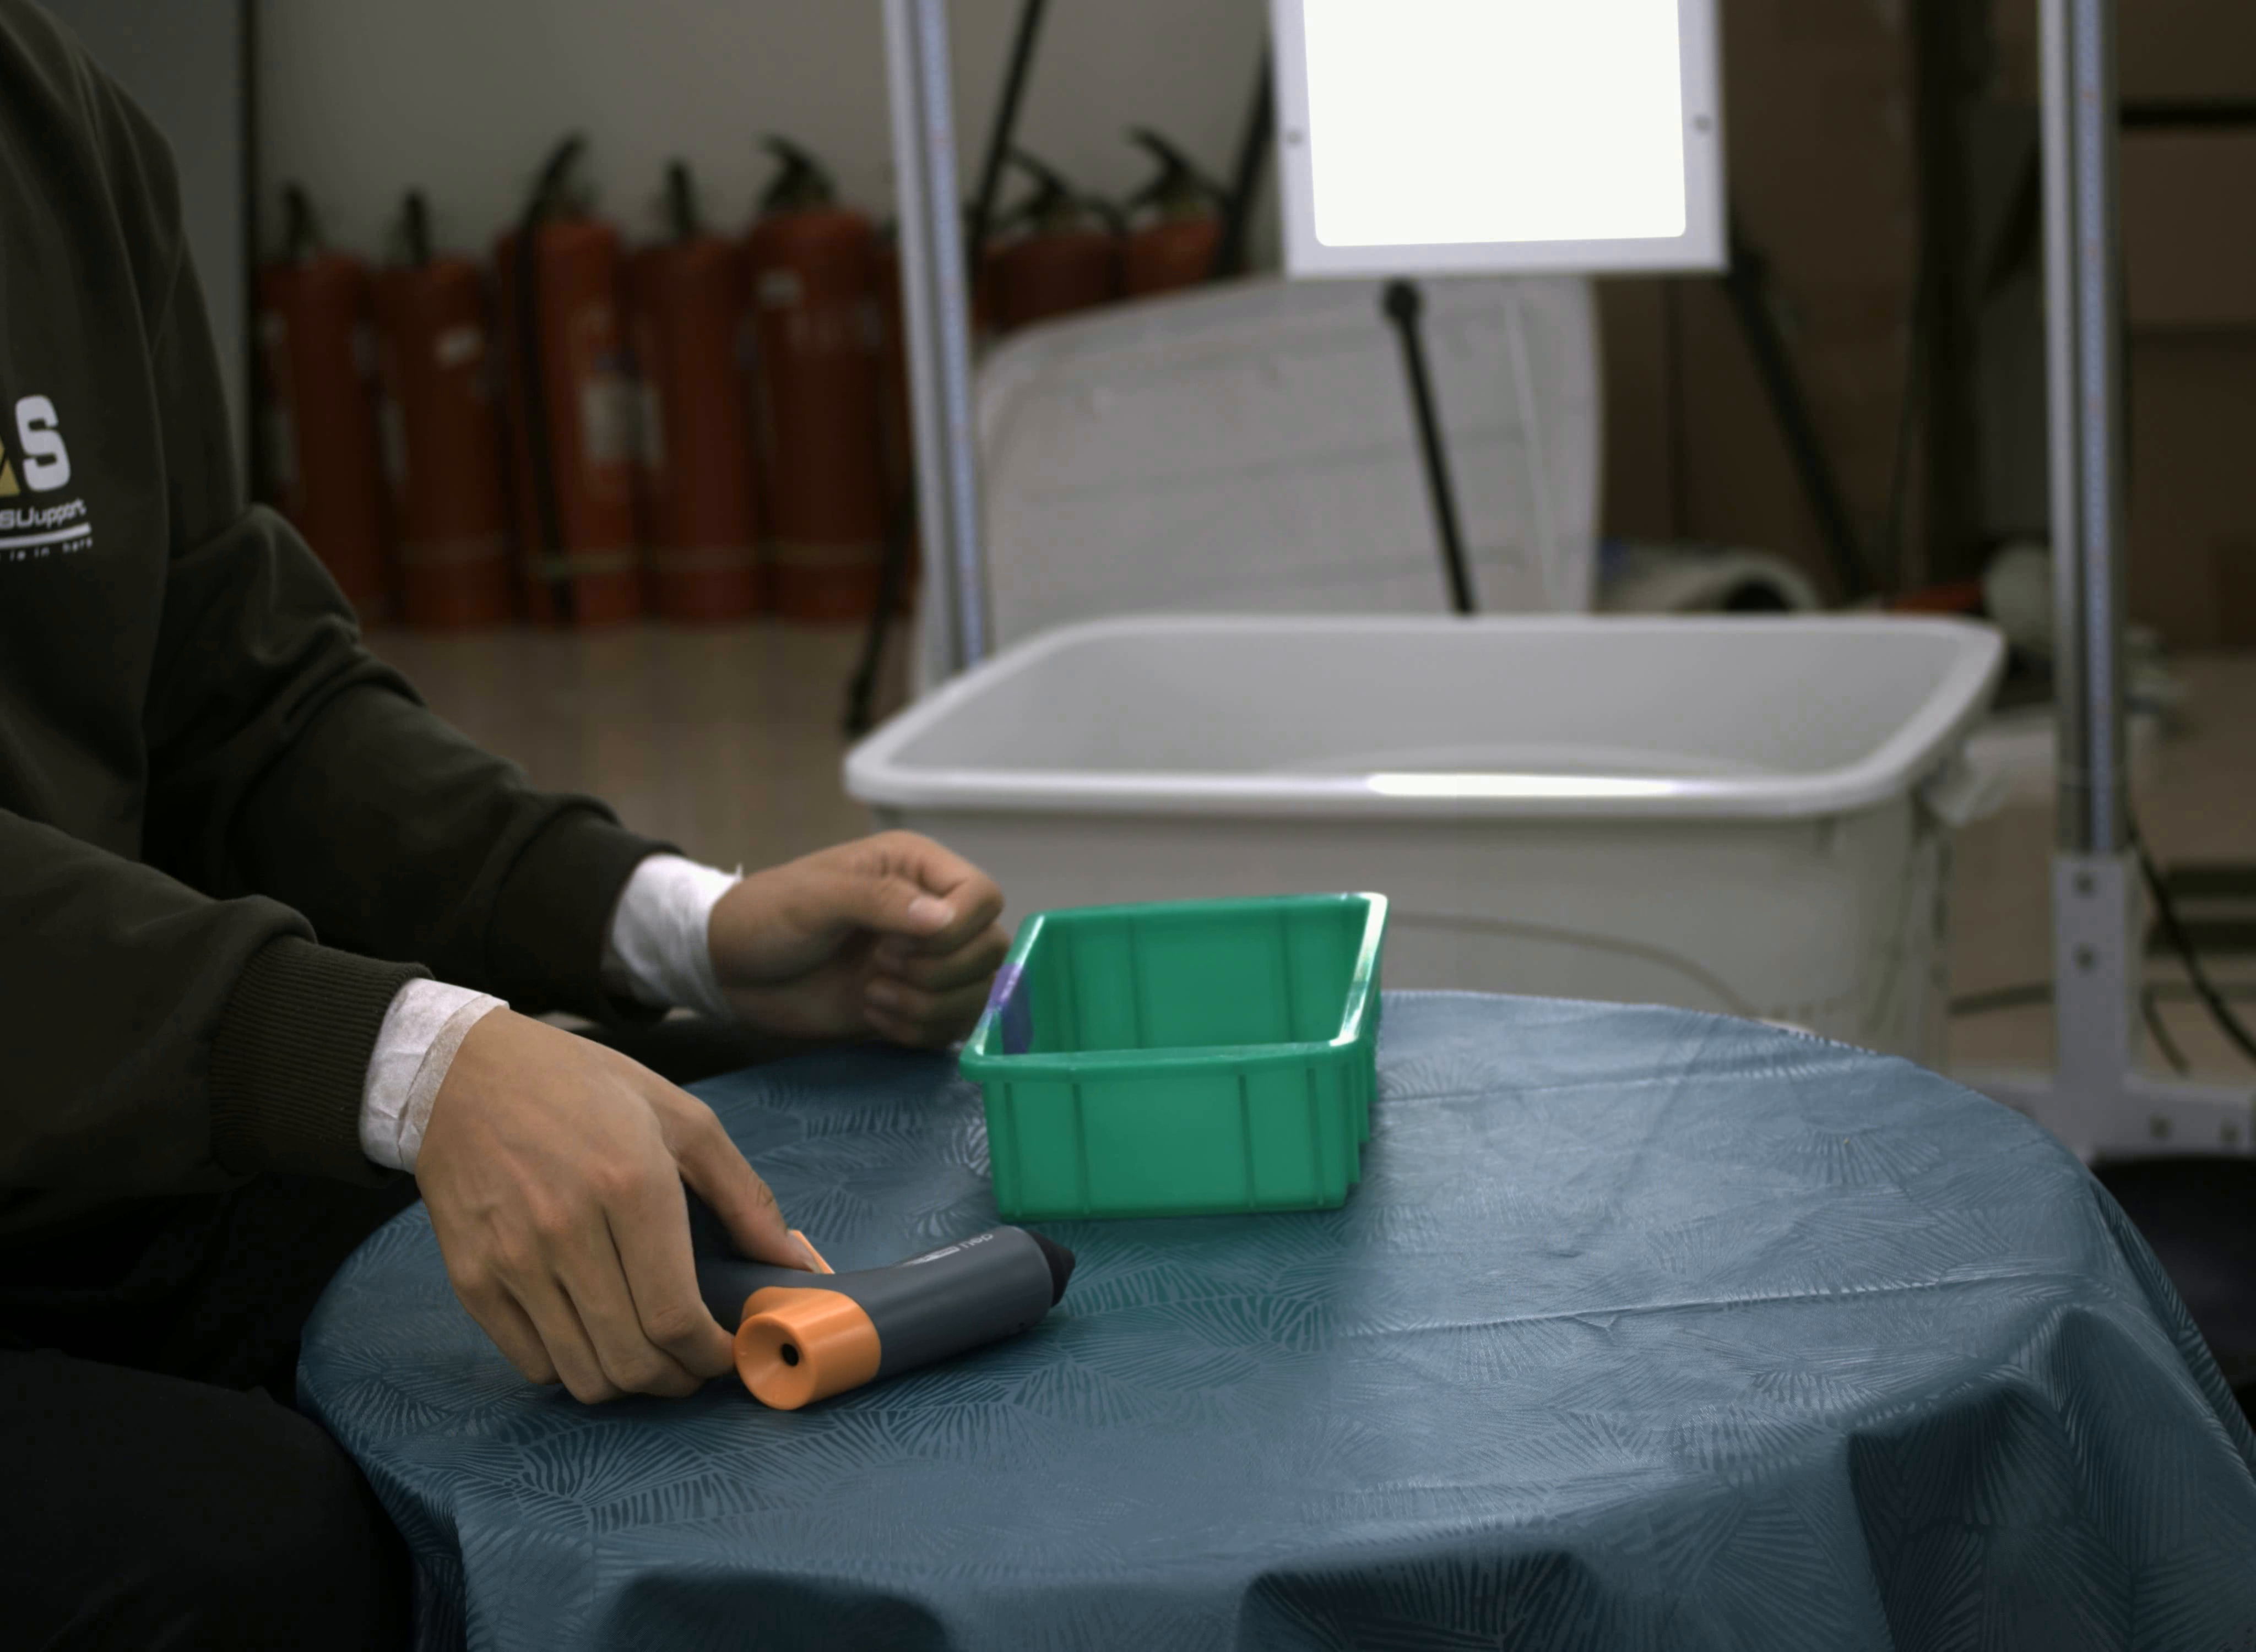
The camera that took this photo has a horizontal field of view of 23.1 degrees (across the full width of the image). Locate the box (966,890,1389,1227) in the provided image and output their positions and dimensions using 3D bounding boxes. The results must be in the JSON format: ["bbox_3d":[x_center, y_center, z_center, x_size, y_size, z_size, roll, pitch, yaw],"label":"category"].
[{"bbox_3d":[0.023,0.081,1.945,0.139,0.065,0.209,-4,16,7],"label":"box"}]

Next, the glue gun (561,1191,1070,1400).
[{"bbox_3d":[-0.101,0.150,1.772,0.142,0.041,0.115,8,13,33],"label":"glue gun"}]
